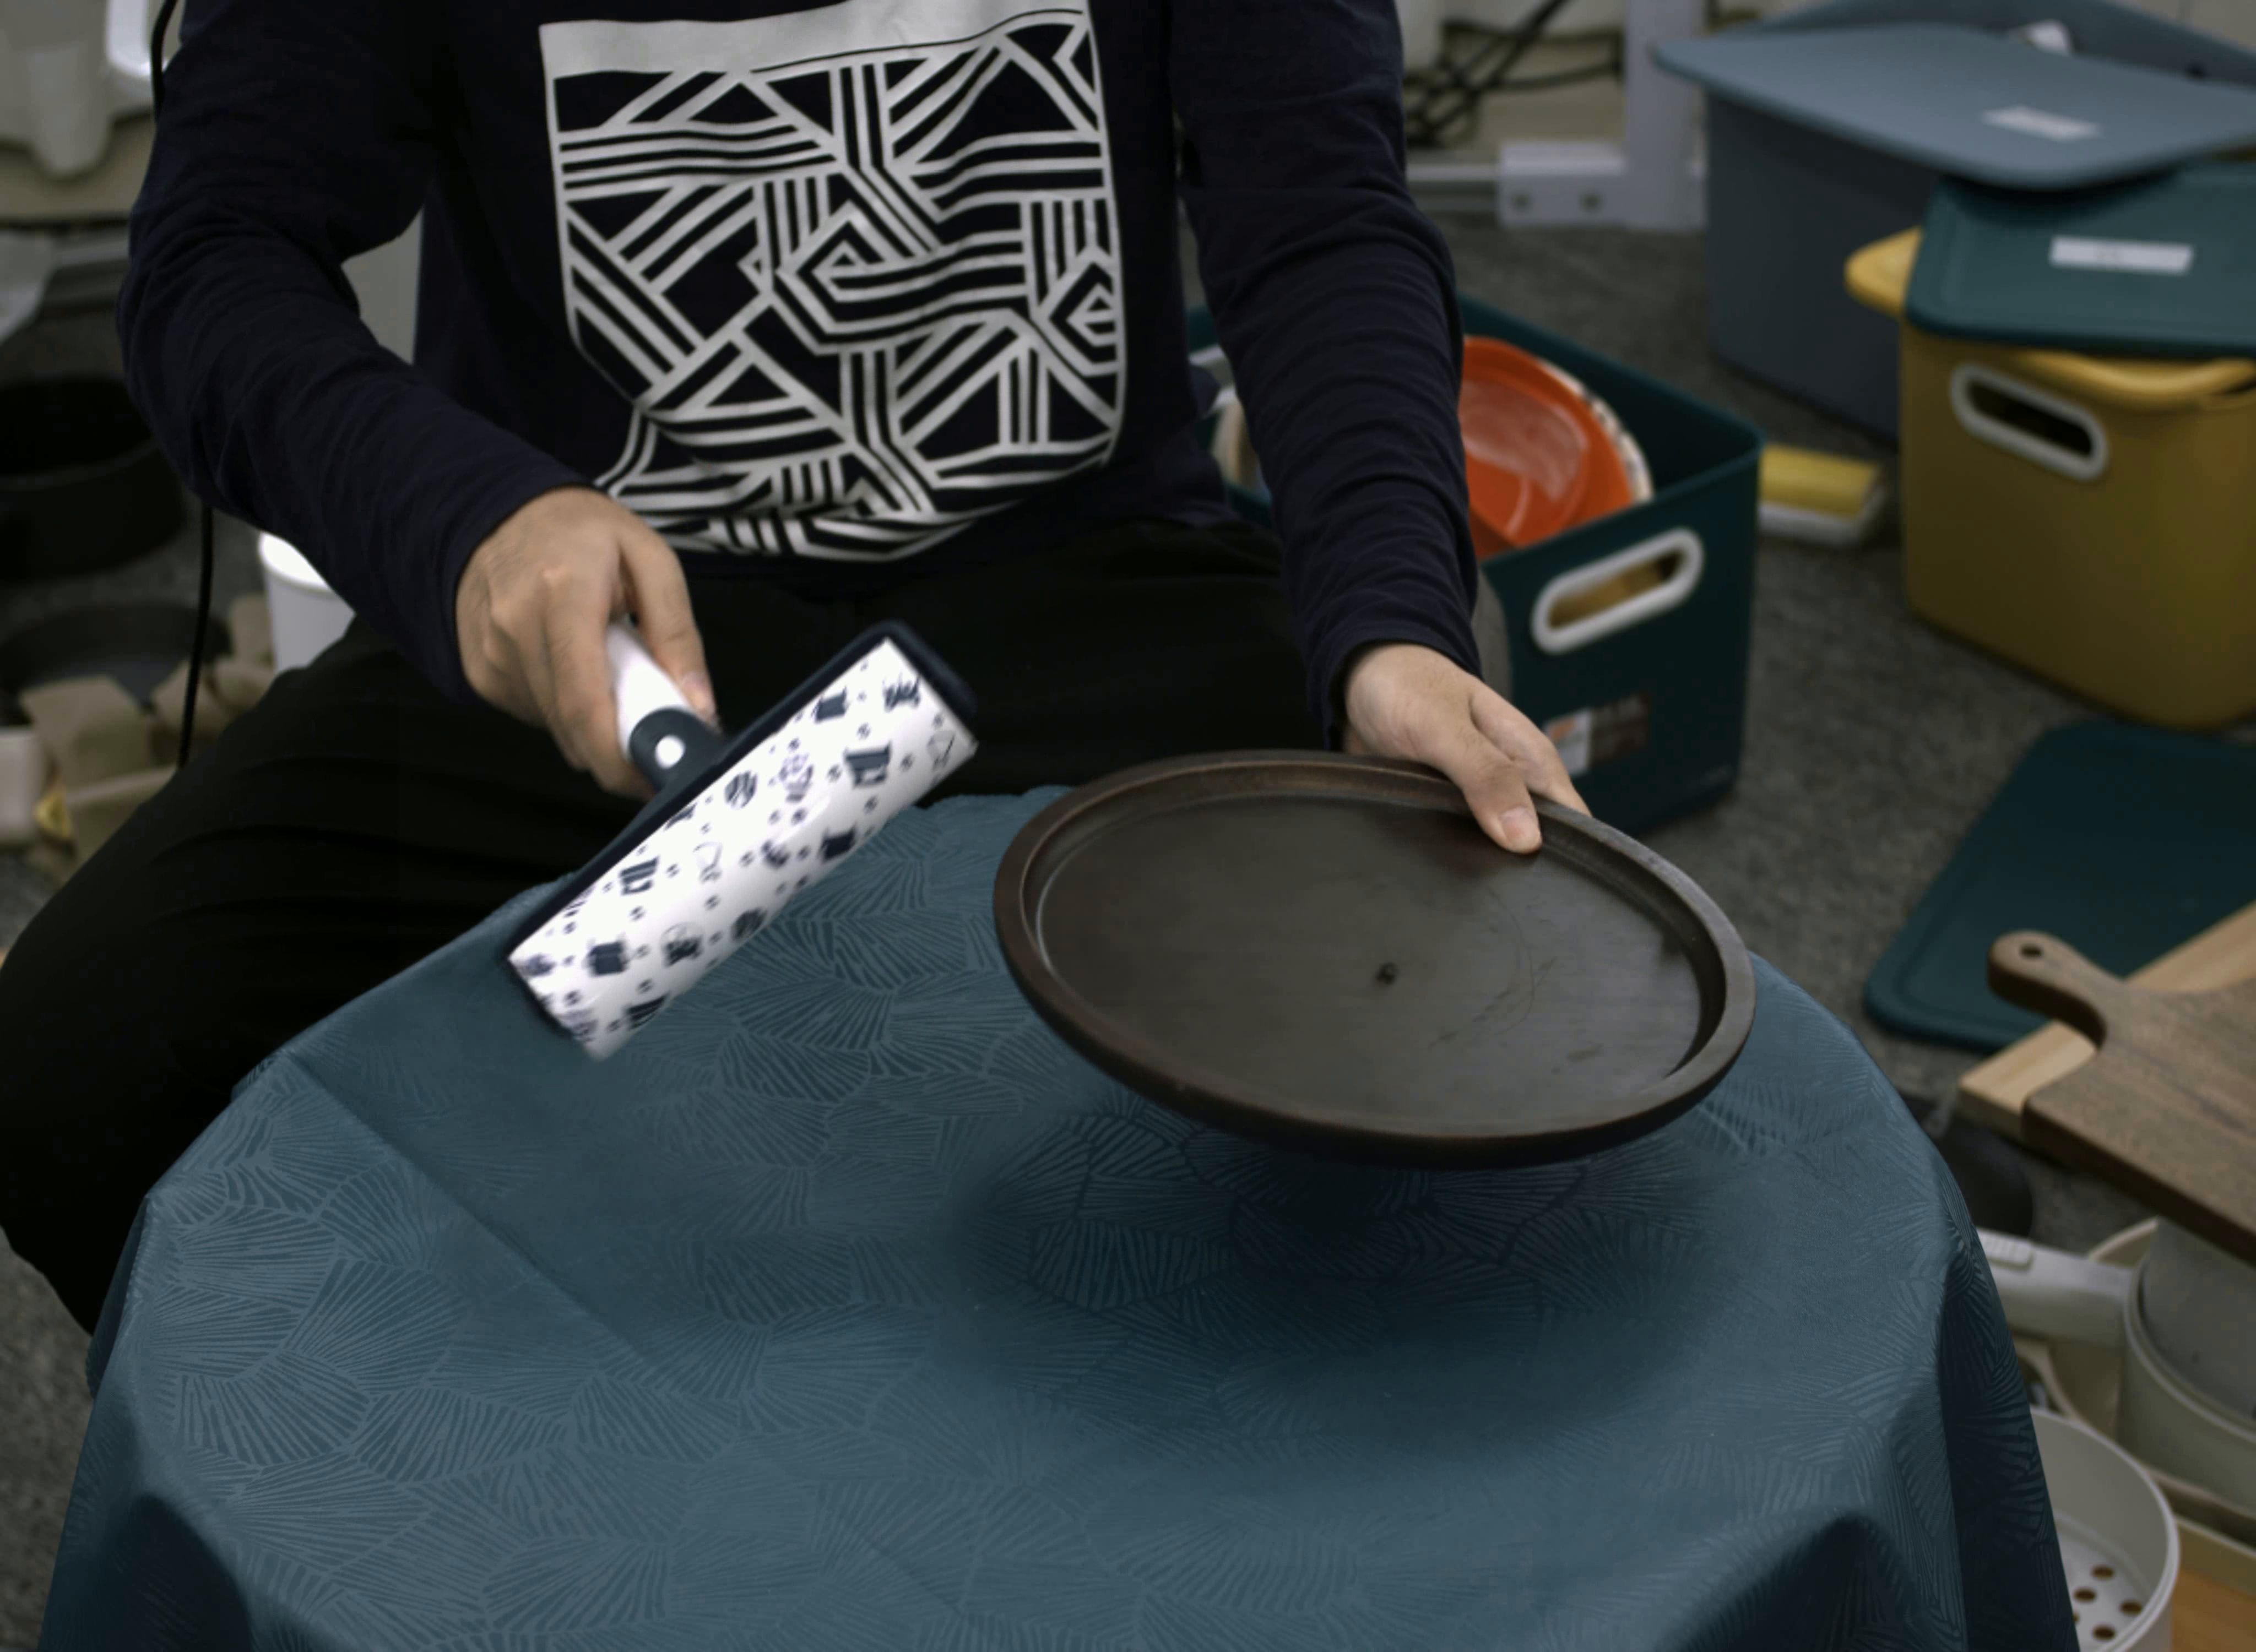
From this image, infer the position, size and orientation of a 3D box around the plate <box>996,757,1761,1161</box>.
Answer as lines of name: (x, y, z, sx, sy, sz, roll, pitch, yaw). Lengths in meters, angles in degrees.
plate: (0.081, 0.041, 1.838, 0.254, 0.029, 0.258, 8, 25, -3)

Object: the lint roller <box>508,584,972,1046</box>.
lint roller: (-0.160, -0.035, 1.913, 0.176, 0.050, 0.248, -42, 31, -2)
